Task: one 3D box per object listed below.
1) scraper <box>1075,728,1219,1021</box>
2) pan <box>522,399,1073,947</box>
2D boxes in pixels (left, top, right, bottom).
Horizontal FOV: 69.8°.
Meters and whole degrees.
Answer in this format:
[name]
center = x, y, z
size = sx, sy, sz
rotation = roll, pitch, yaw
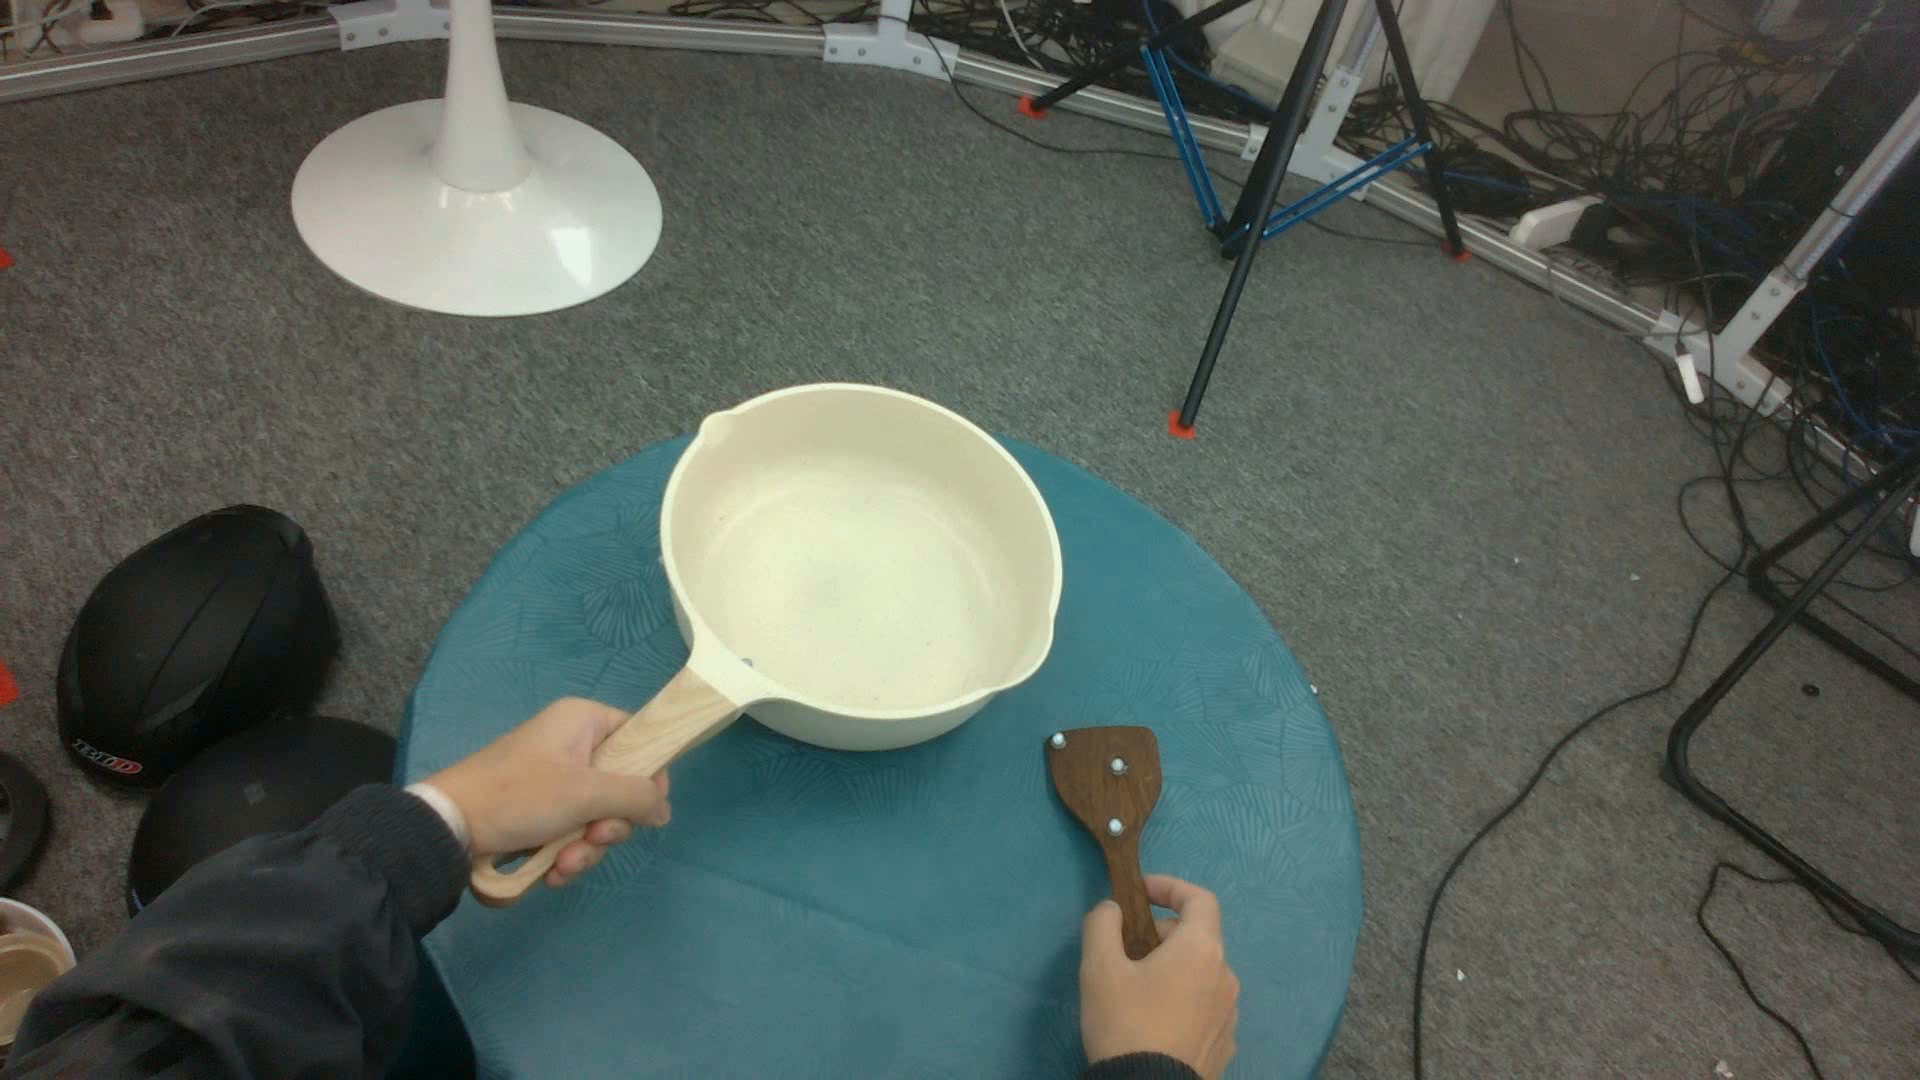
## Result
[scraper]
center = 0.120, 0.195, 0.832
size = 0.076, 0.011, 0.212
rotation = -6, 39, -1
[pan]
center = -0.105, 0.082, 0.835
size = 0.263, 0.101, 0.437
rotation = 33, 53, 10
